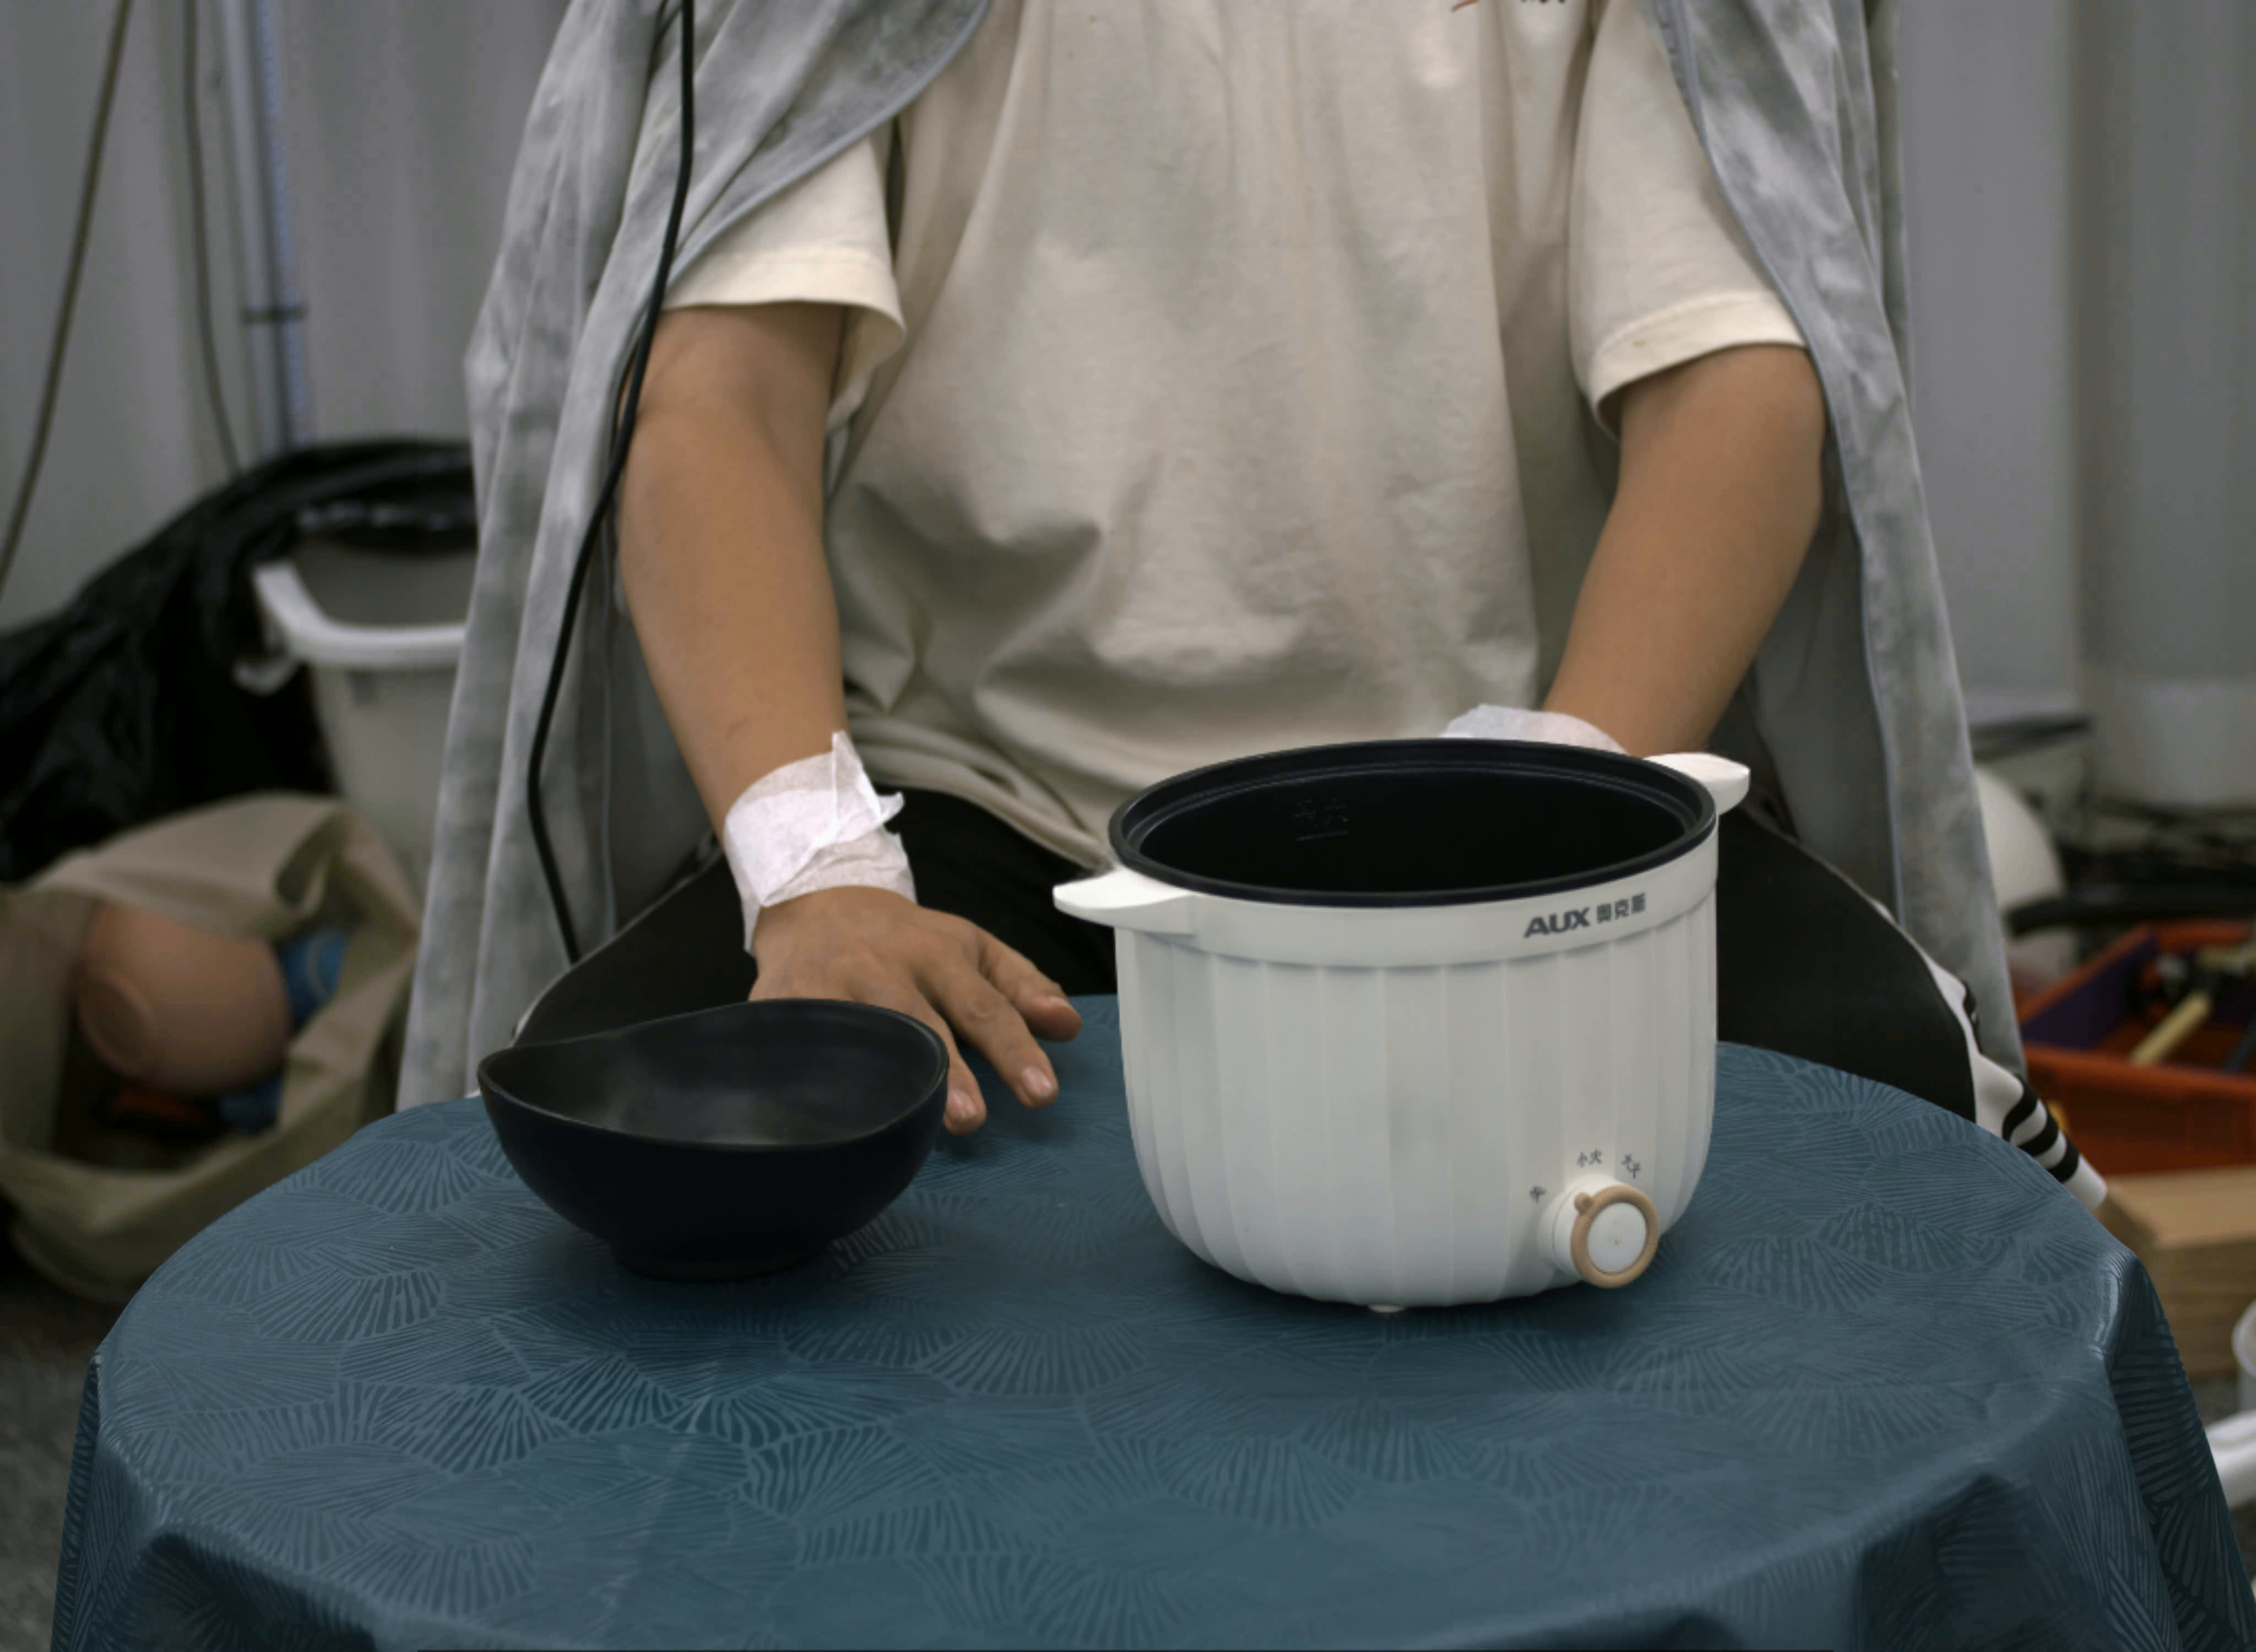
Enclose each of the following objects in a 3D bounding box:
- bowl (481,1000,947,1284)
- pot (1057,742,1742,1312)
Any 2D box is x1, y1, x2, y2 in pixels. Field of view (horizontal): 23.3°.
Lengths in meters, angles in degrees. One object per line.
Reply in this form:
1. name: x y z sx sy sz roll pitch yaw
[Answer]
1. bowl: -0.127 0.100 1.674 0.137 0.066 0.171 -10 15 -30
2. pot: 0.091 0.061 1.637 0.239 0.142 0.191 -12 14 -30
